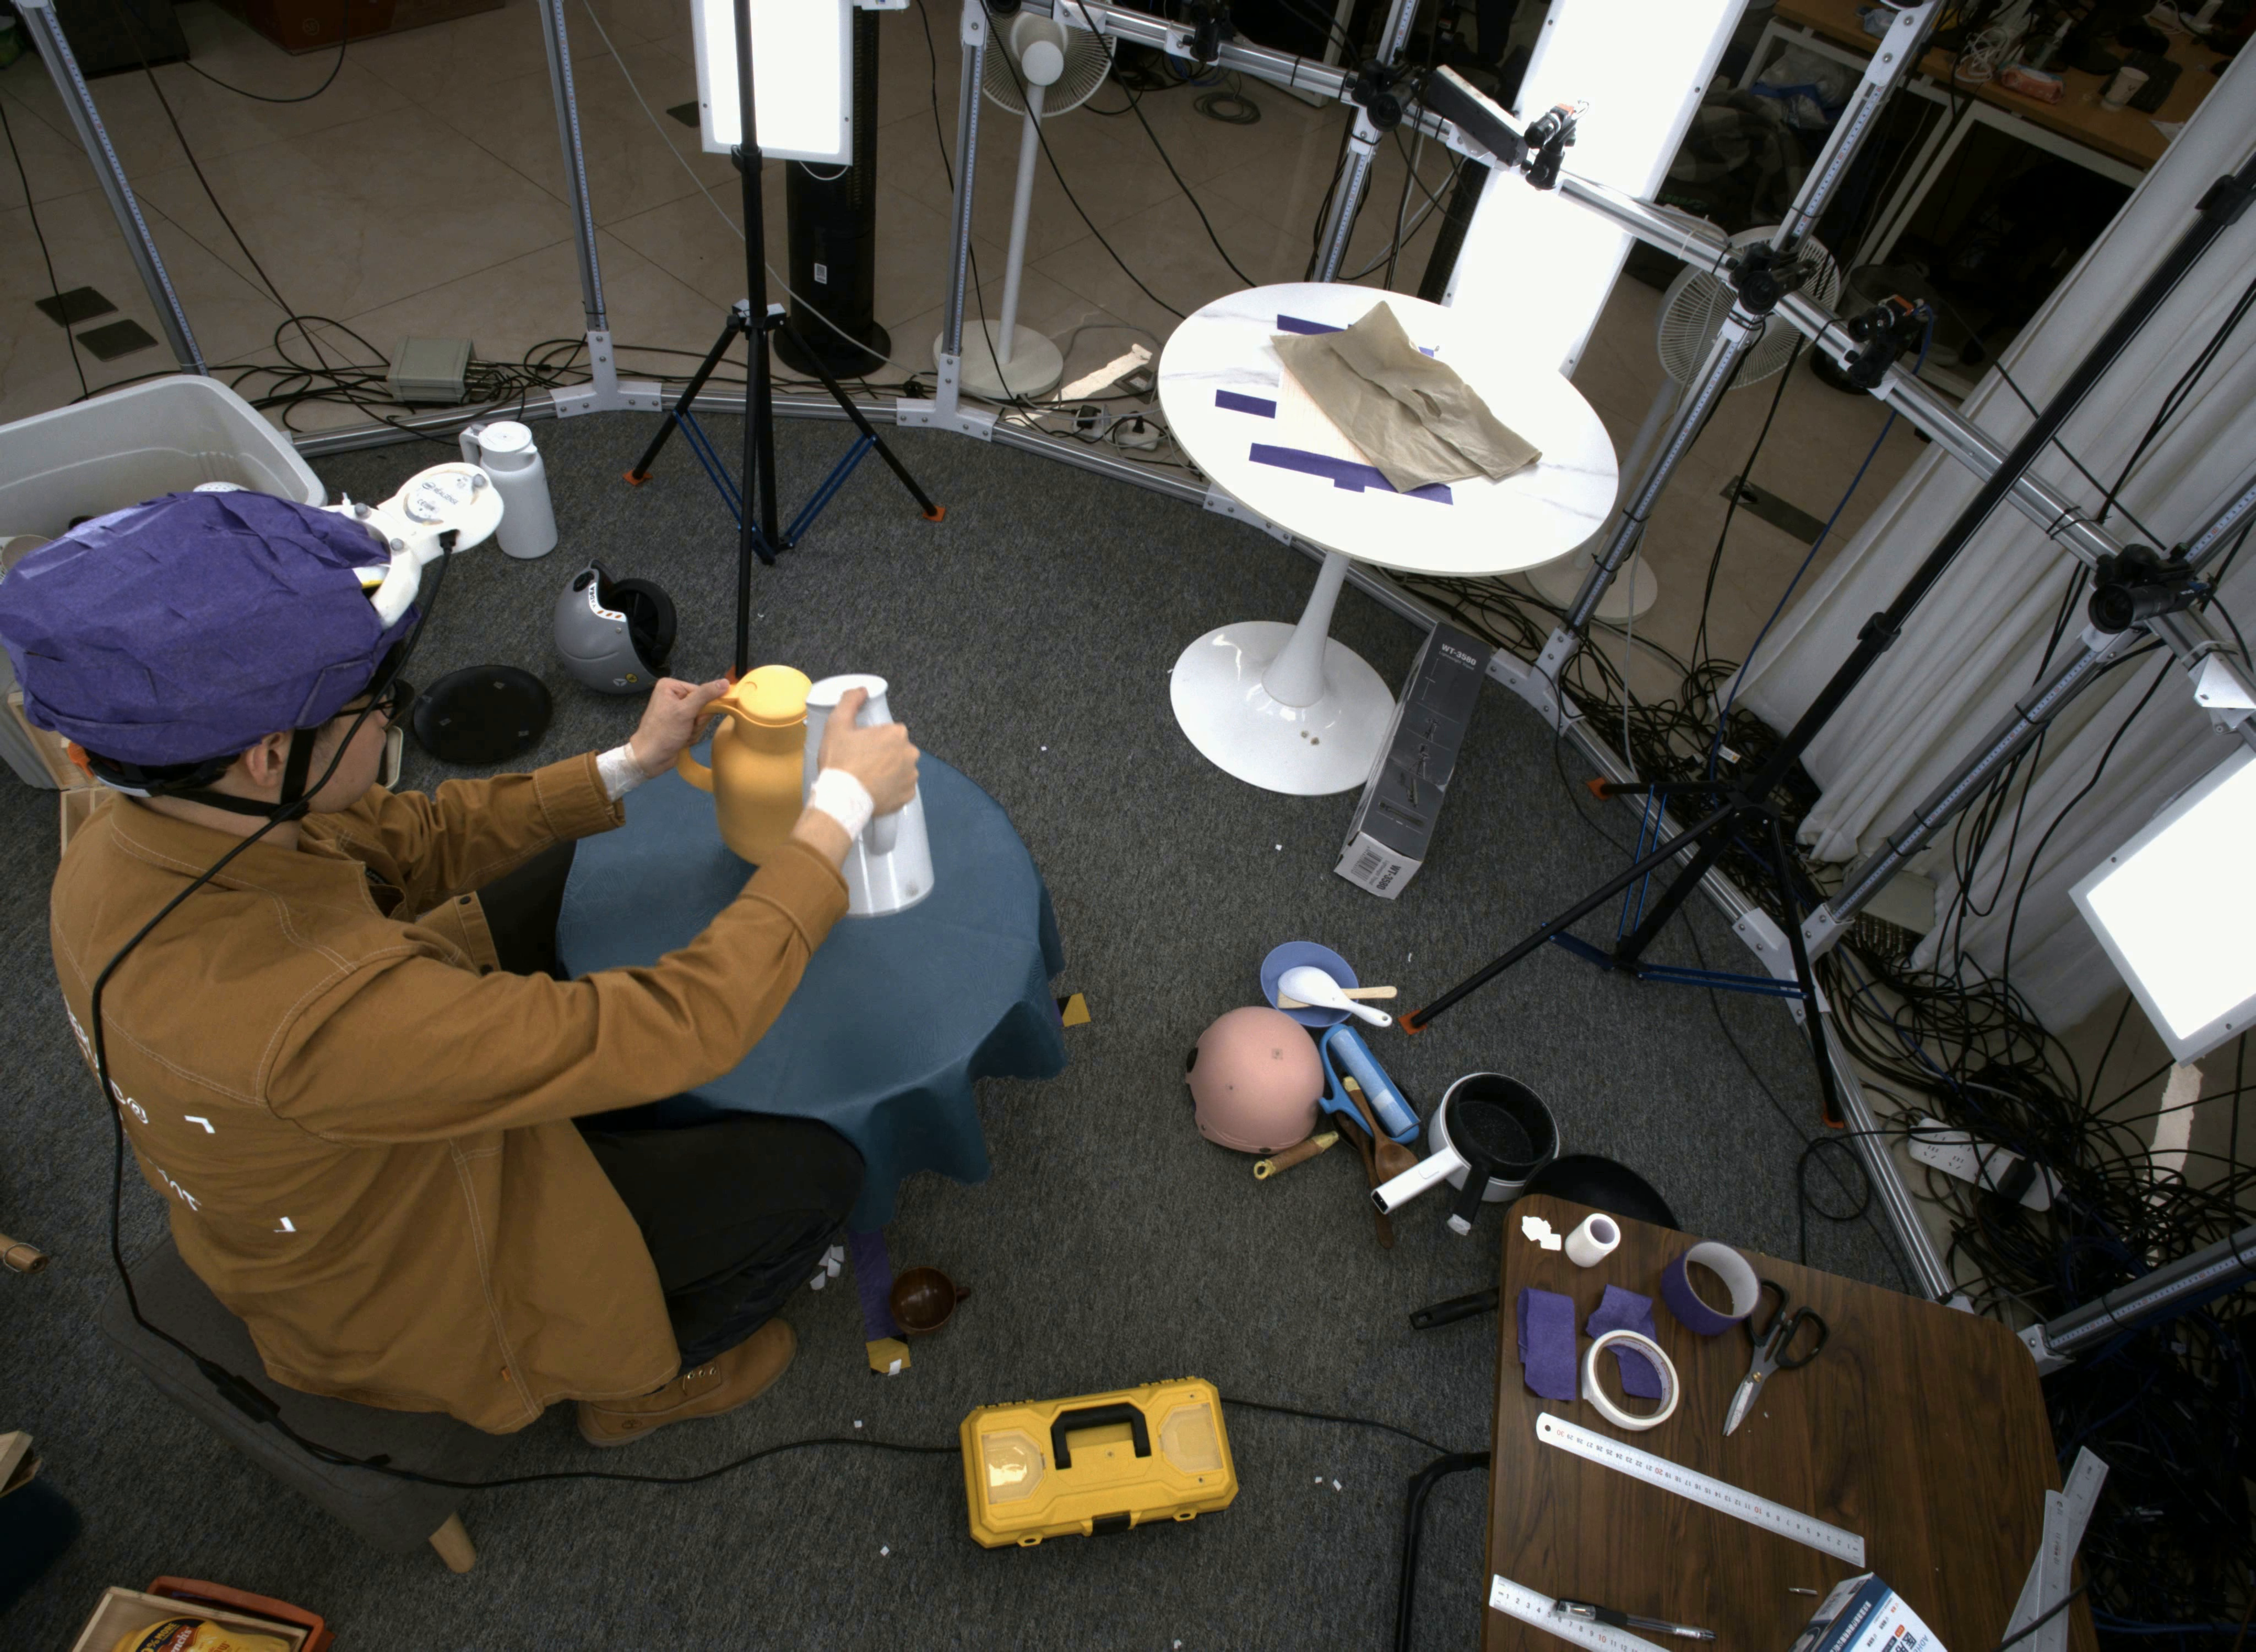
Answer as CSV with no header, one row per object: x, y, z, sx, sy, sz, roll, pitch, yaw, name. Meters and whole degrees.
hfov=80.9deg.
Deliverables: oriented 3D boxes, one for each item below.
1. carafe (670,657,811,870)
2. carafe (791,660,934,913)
-0.444,-0.082,1.558,0.203,0.266,0.159,1,48,-13,carafe
-0.283,-0.043,1.375,0.133,0.256,0.161,-16,28,-23,carafe
